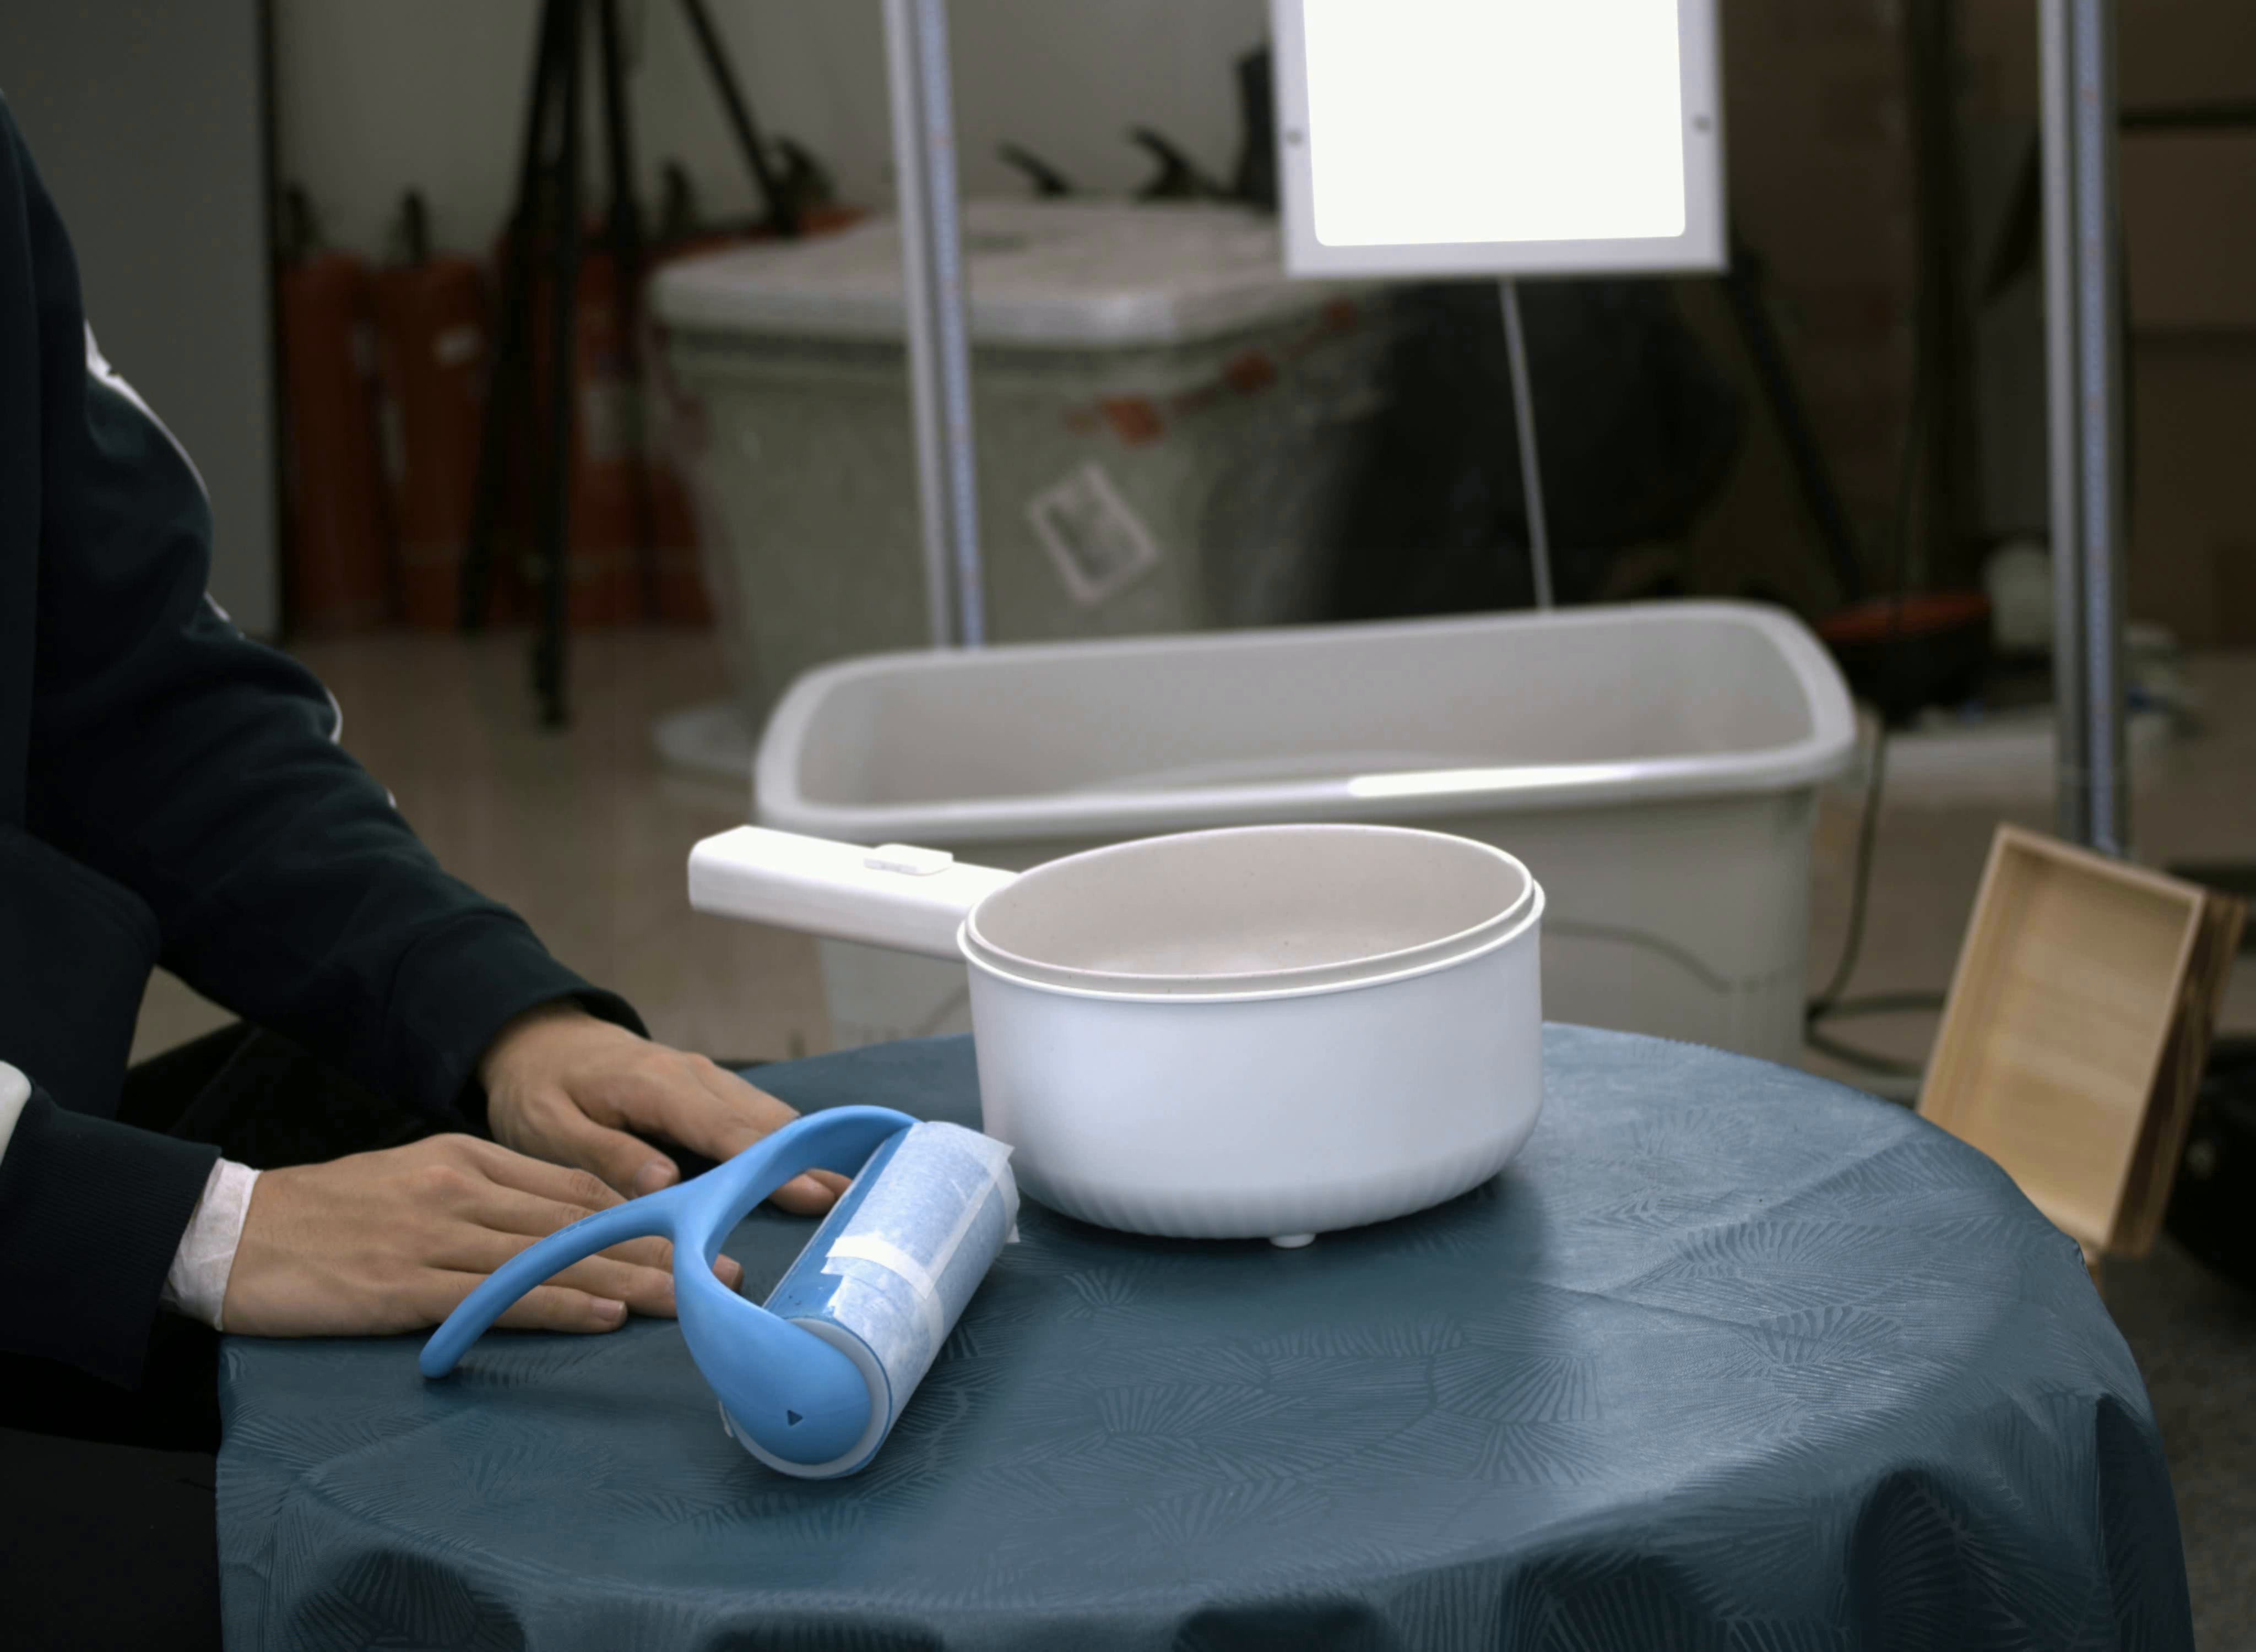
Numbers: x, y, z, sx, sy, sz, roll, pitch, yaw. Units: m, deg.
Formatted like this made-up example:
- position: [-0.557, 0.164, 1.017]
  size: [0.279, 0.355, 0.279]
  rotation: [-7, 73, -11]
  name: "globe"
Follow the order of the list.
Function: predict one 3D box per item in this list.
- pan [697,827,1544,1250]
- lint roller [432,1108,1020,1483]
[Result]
- position: [-0.013, 0.067, 1.937]
  size: [0.362, 0.102, 0.196]
  rotation: [6, 19, 42]
  name: "pan"
- position: [-0.136, 0.148, 1.742]
  size: [0.181, 0.068, 0.227]
  rotation: [-2, 15, 9]
  name: "lint roller"
